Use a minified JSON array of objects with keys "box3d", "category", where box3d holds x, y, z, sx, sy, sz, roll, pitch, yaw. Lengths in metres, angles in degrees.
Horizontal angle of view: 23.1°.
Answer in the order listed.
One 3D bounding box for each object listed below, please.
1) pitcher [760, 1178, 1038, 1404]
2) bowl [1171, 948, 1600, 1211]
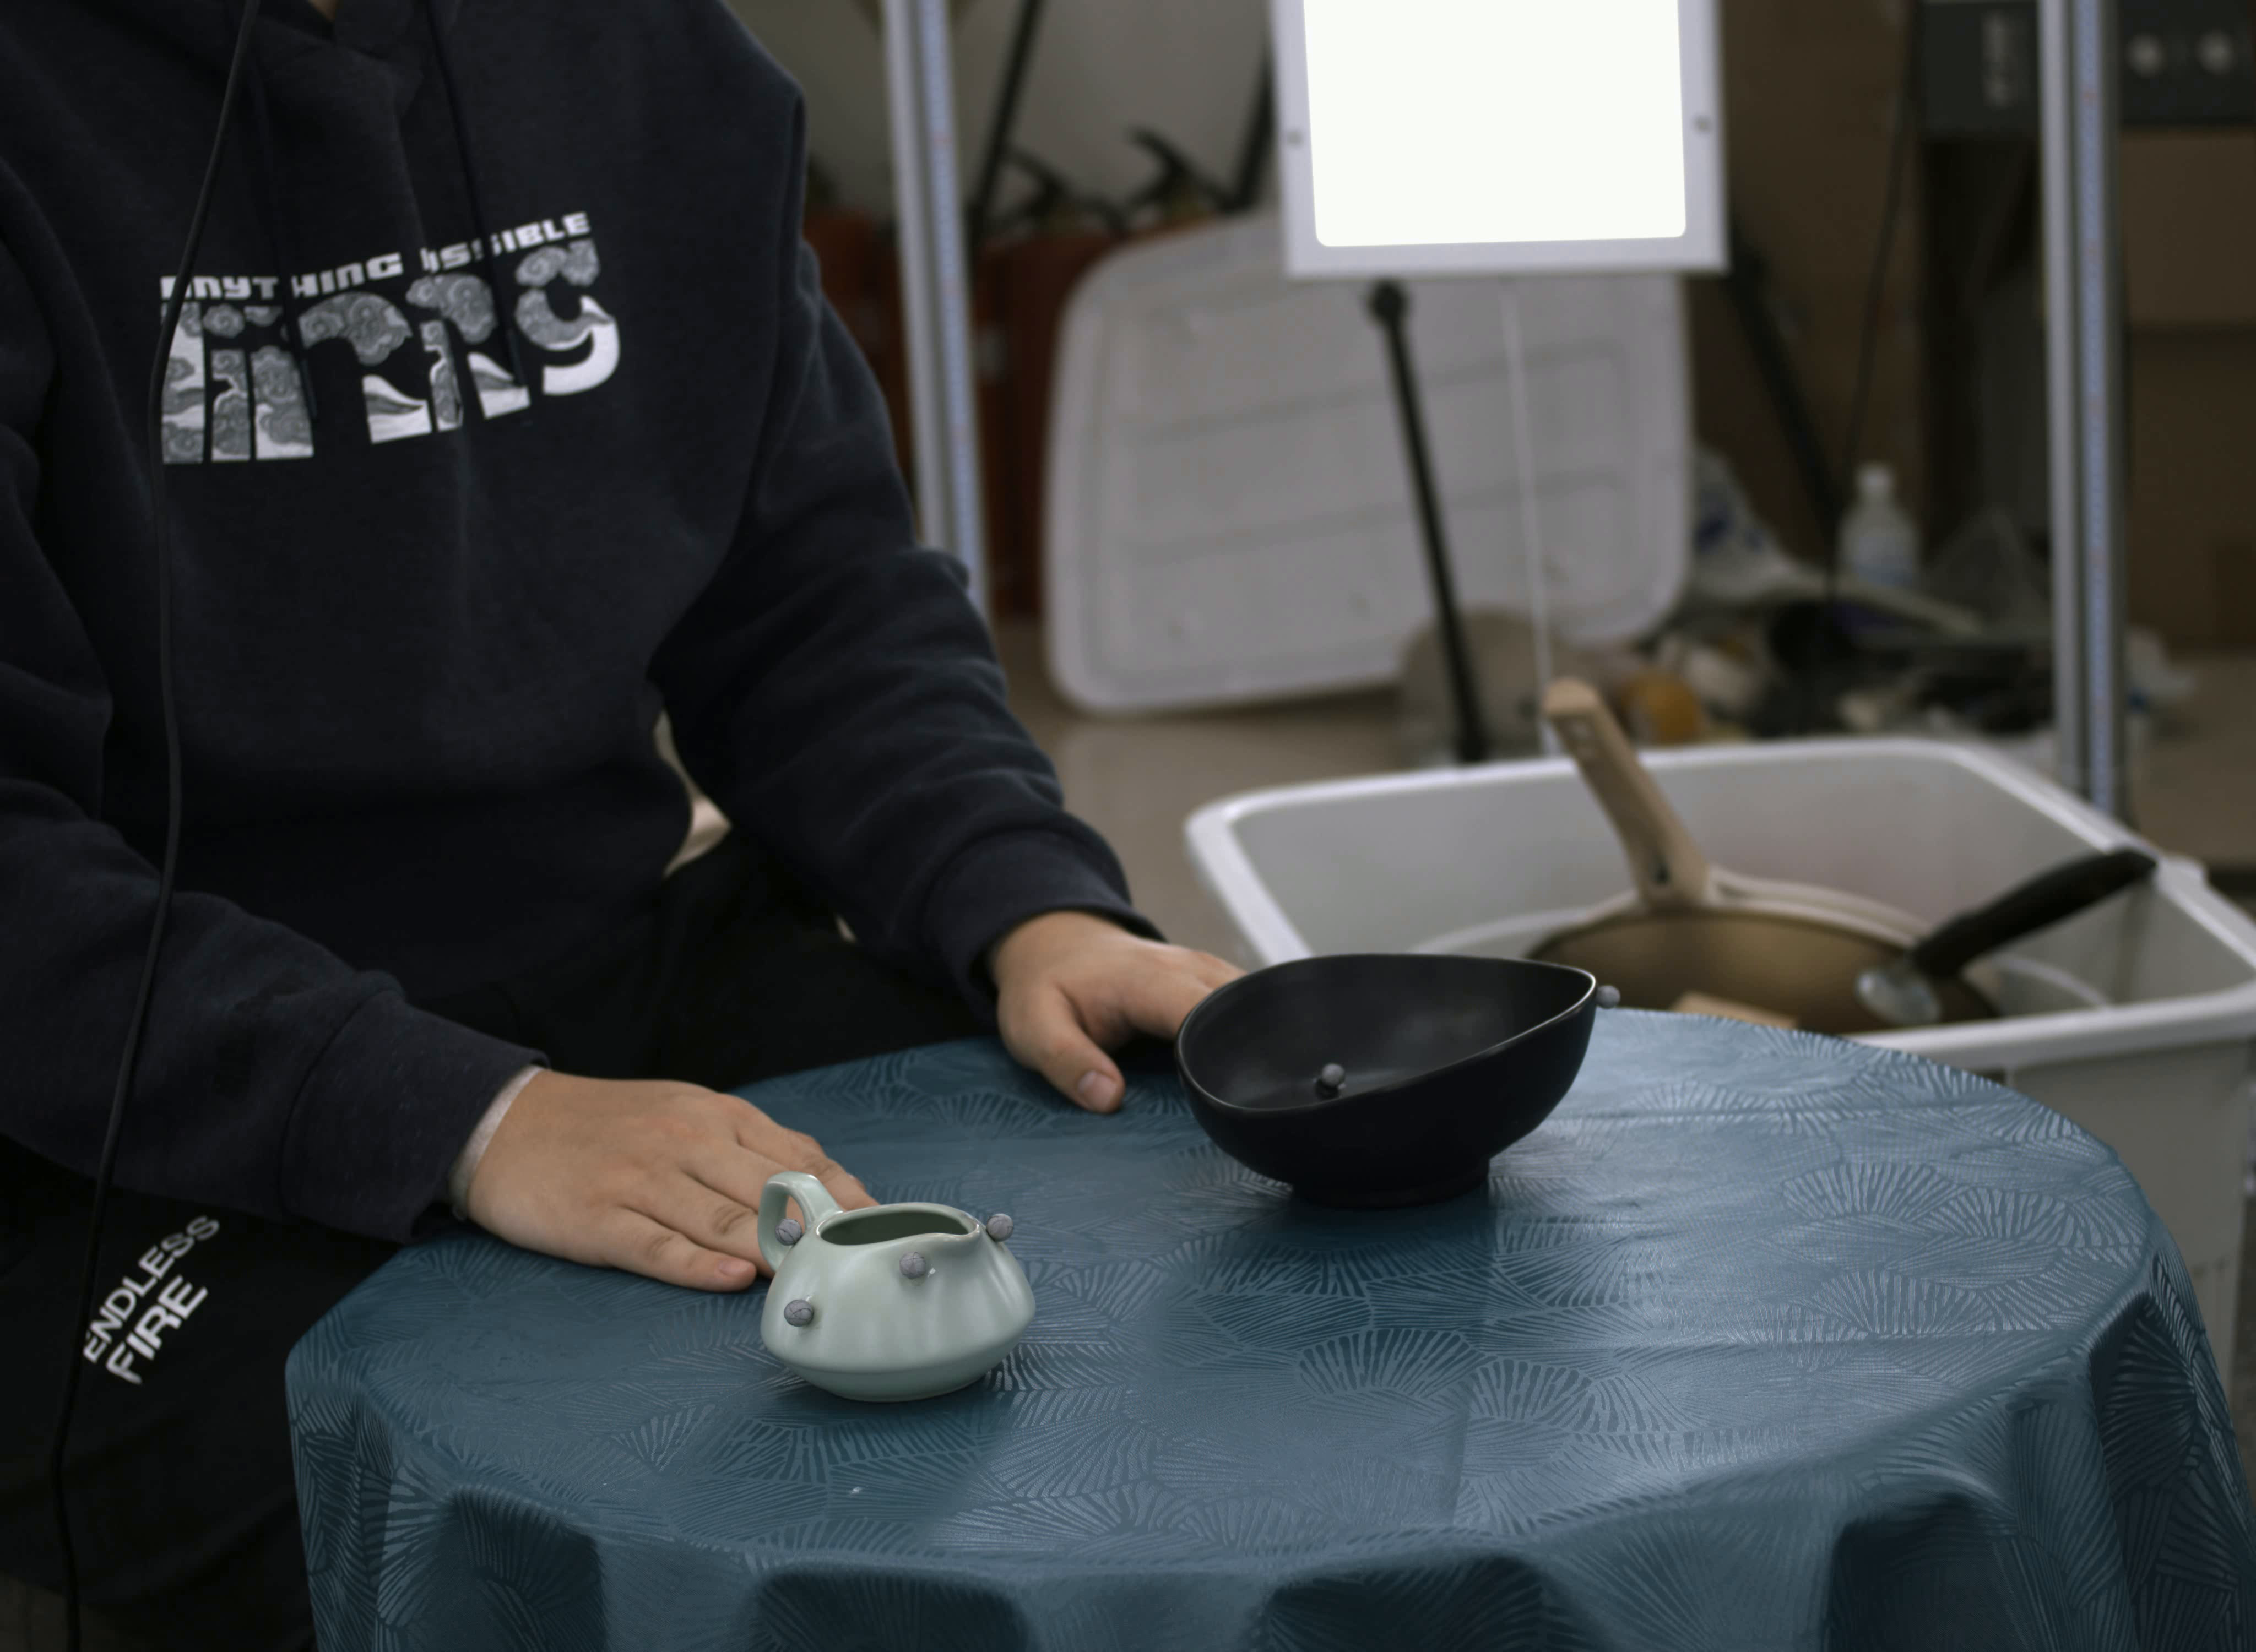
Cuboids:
[{"box3d":[-0.080,0.145,1.731,0.084,0.060,0.110,-15,15,-40],"category":"pitcher"},{"box3d":[0.091,0.091,1.881,0.140,0.067,0.166,4,17,35],"category":"bowl"}]
